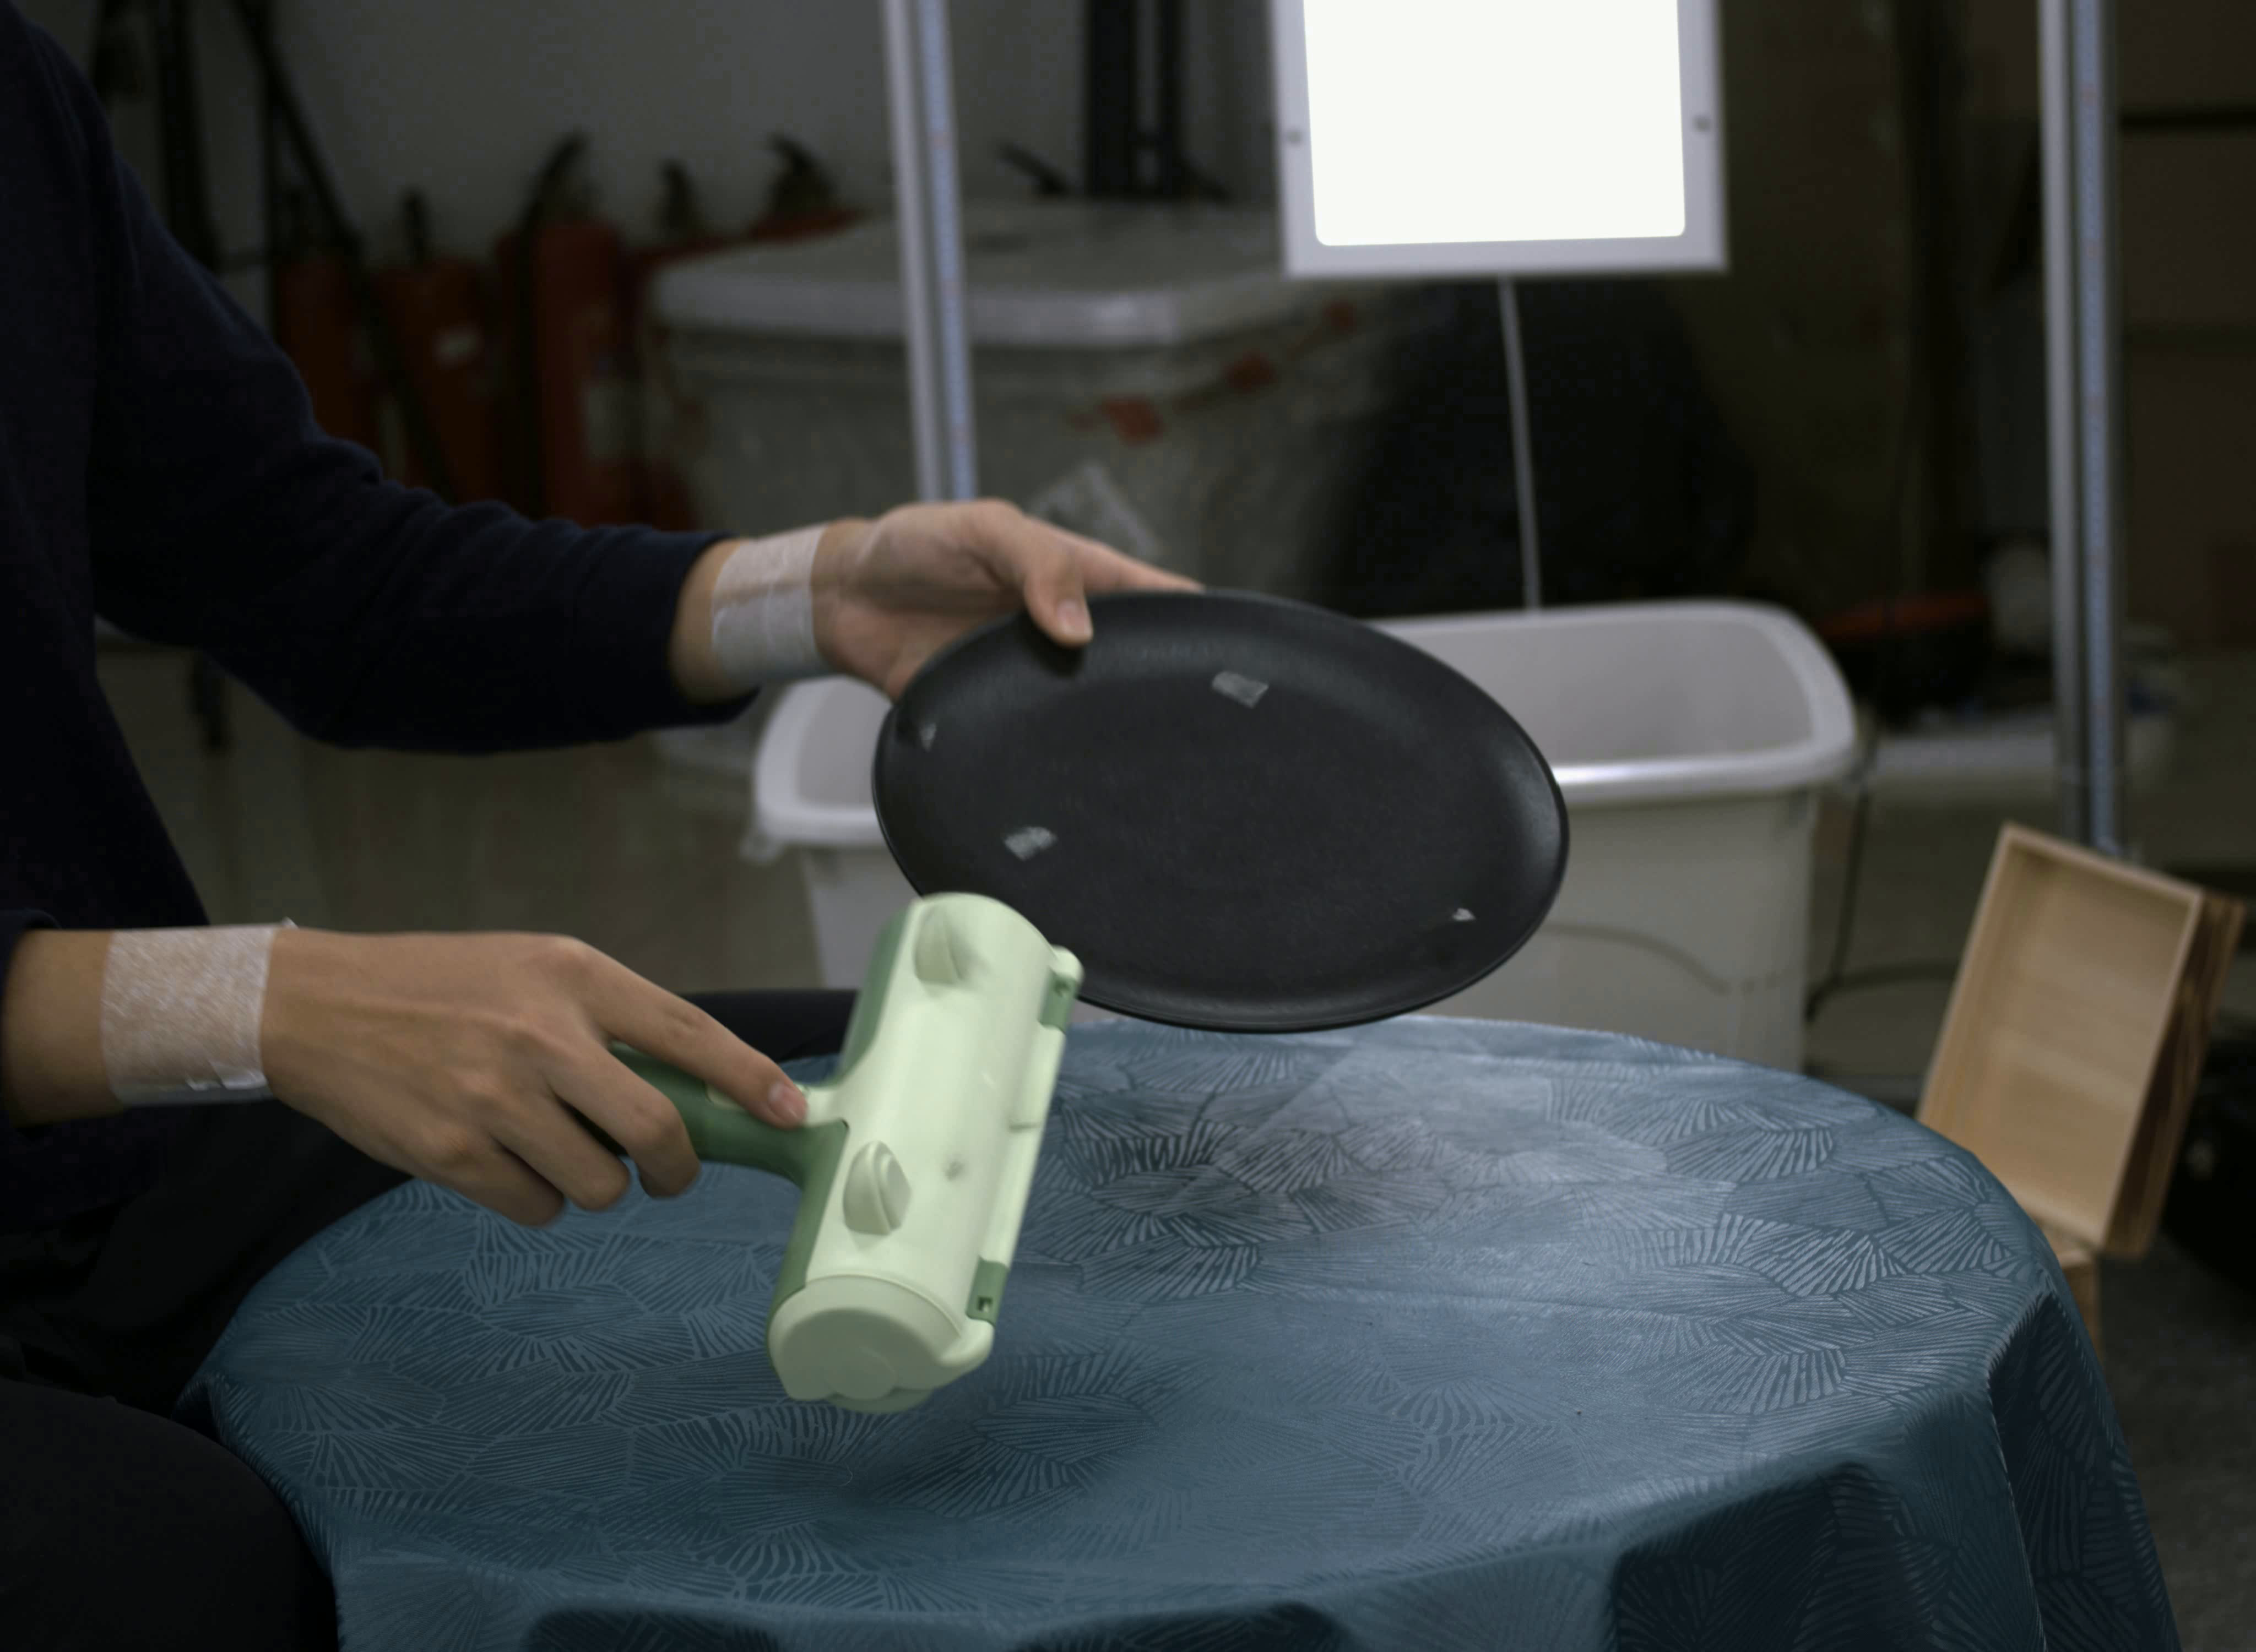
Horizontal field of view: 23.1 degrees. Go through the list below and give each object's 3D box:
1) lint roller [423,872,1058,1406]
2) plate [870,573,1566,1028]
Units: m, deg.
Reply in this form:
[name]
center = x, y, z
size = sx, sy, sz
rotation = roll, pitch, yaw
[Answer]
[lint roller]
center = -0.120, 0.071, 1.676
size = 0.182, 0.083, 0.197
rotation = 17, 40, -4
[plate]
center = 0.031, -0.006, 1.902
size = 0.243, 0.023, 0.244
rotation = 3, 40, -4
